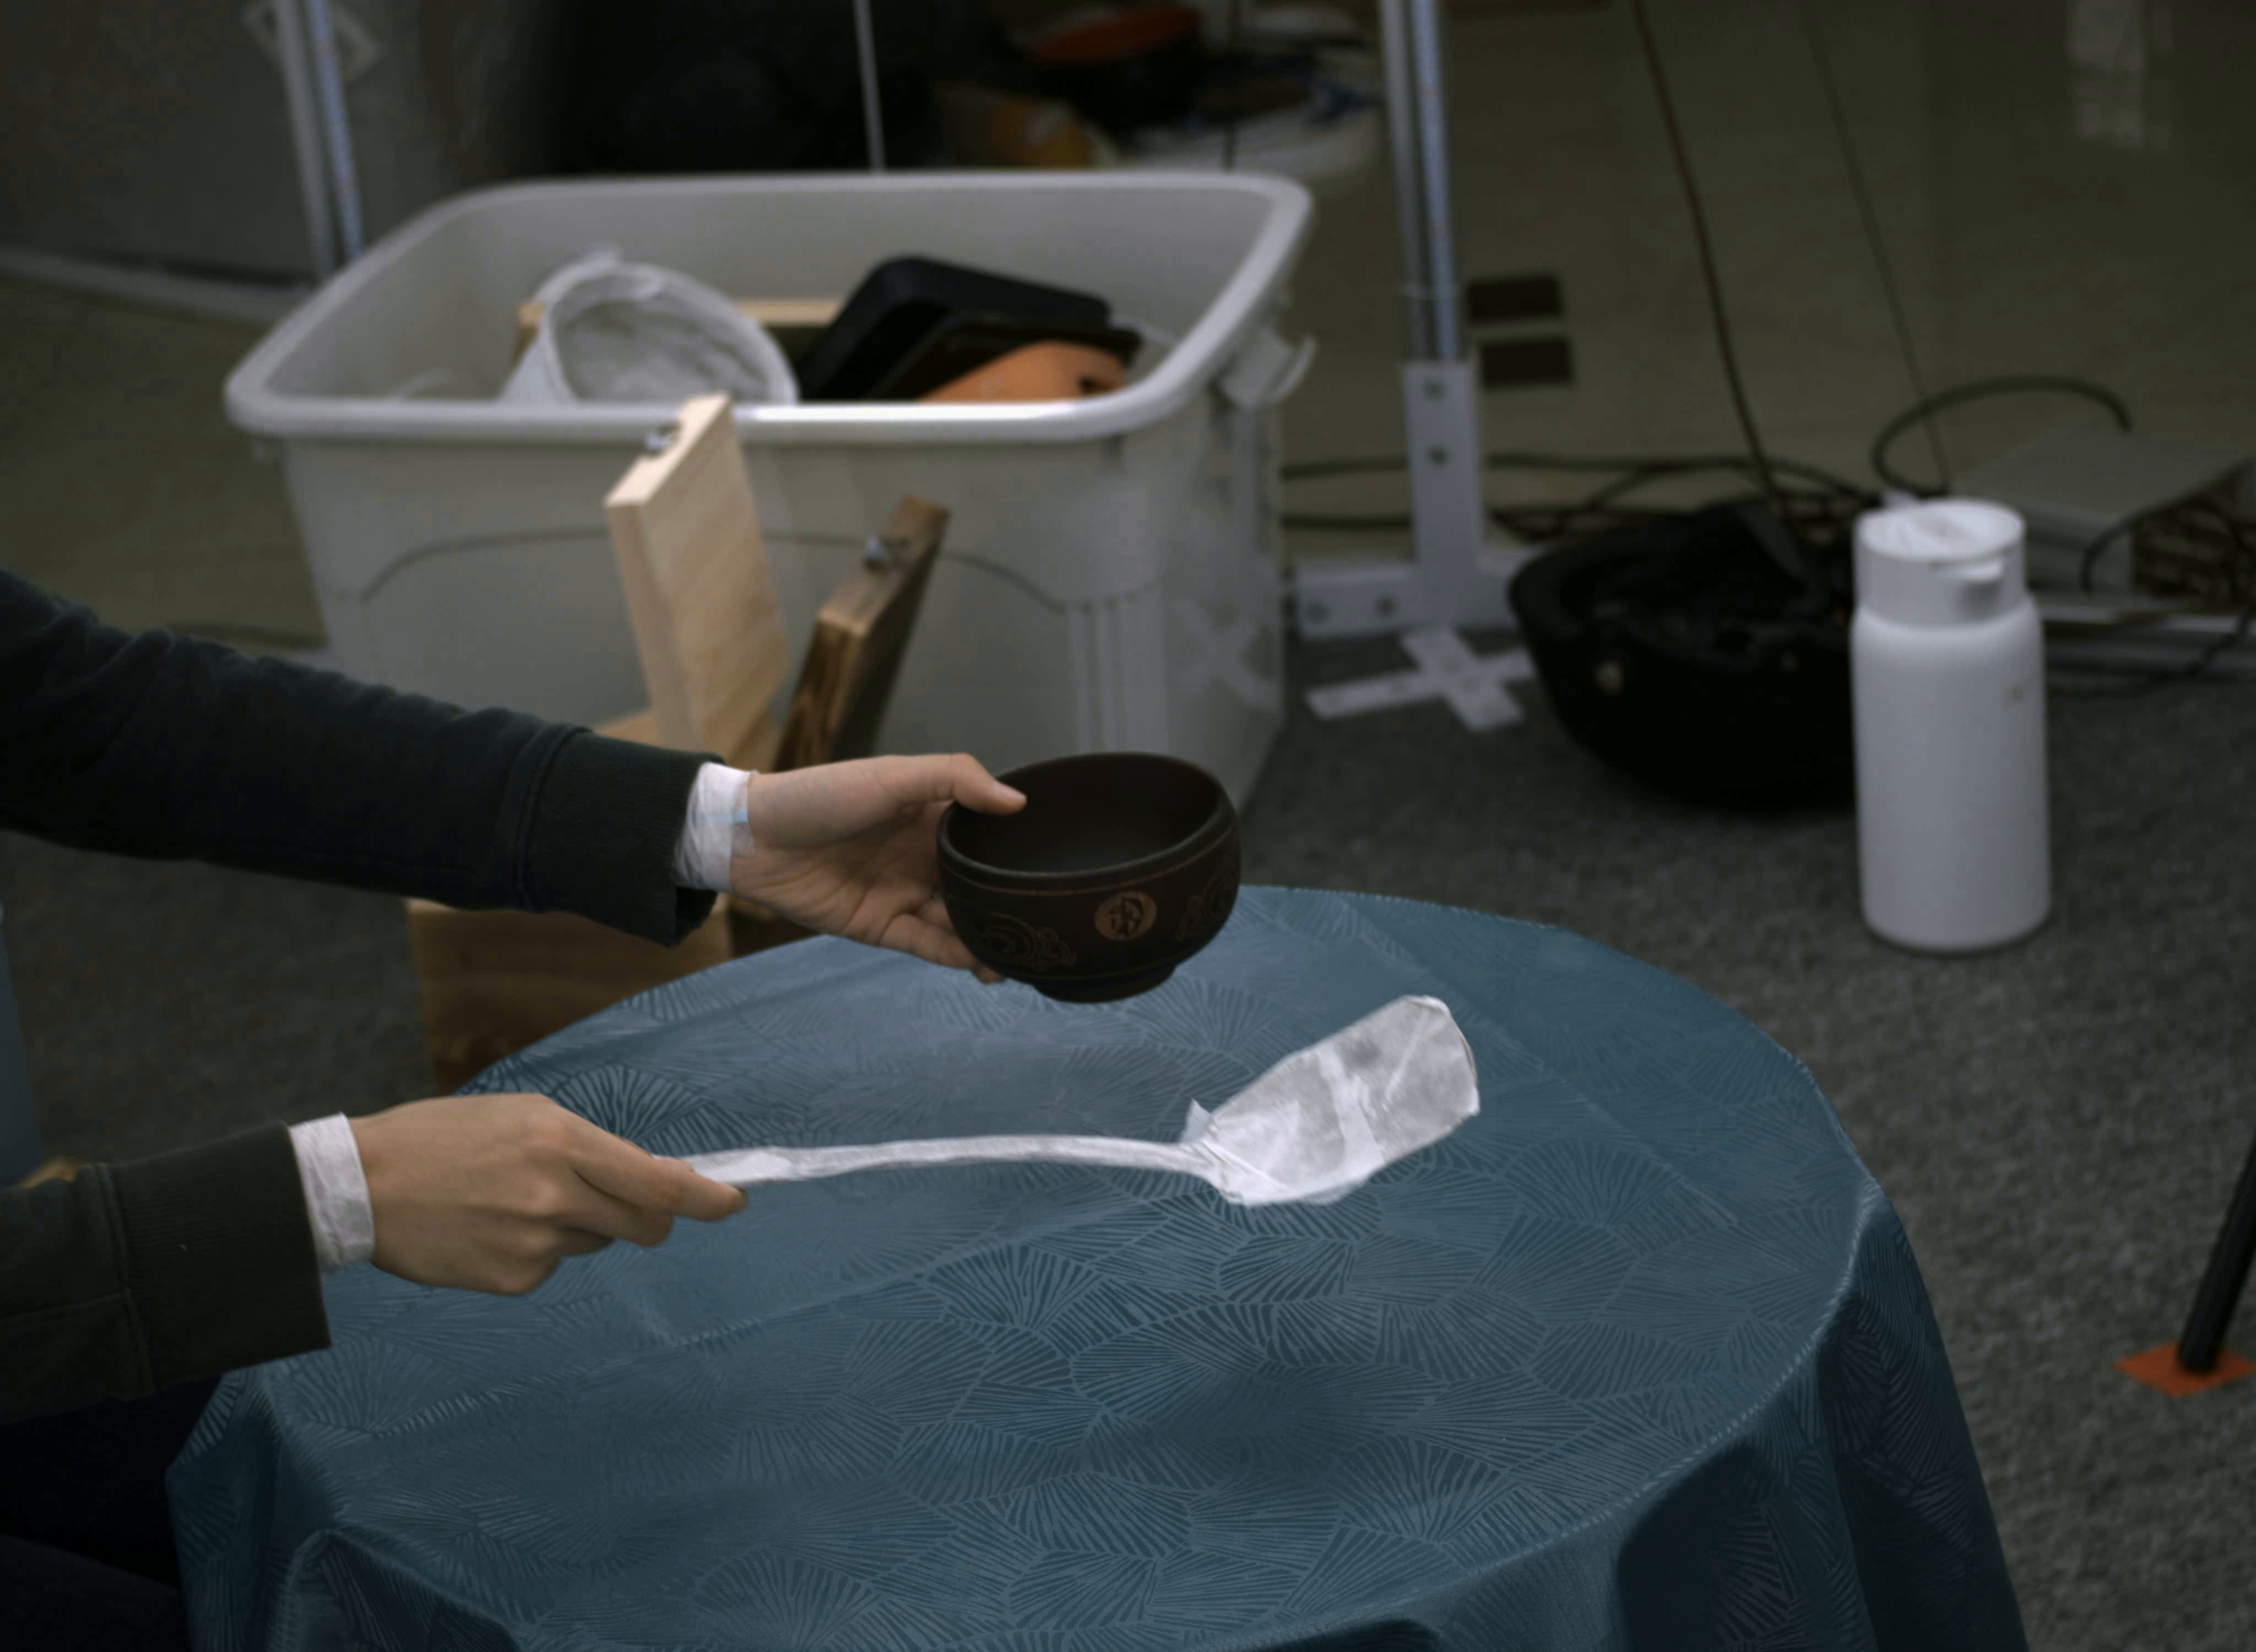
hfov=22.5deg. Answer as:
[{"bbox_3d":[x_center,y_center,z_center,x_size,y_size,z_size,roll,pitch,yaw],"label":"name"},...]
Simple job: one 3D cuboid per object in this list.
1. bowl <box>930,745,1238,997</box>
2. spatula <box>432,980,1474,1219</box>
[{"bbox_3d":[-0.015,0.023,2.177,0.118,0.071,0.116,-7,23,3],"label":"bowl"},{"bbox_3d":[-0.062,0.105,1.964,0.364,0.045,0.097,-4,30,-3],"label":"spatula"}]
